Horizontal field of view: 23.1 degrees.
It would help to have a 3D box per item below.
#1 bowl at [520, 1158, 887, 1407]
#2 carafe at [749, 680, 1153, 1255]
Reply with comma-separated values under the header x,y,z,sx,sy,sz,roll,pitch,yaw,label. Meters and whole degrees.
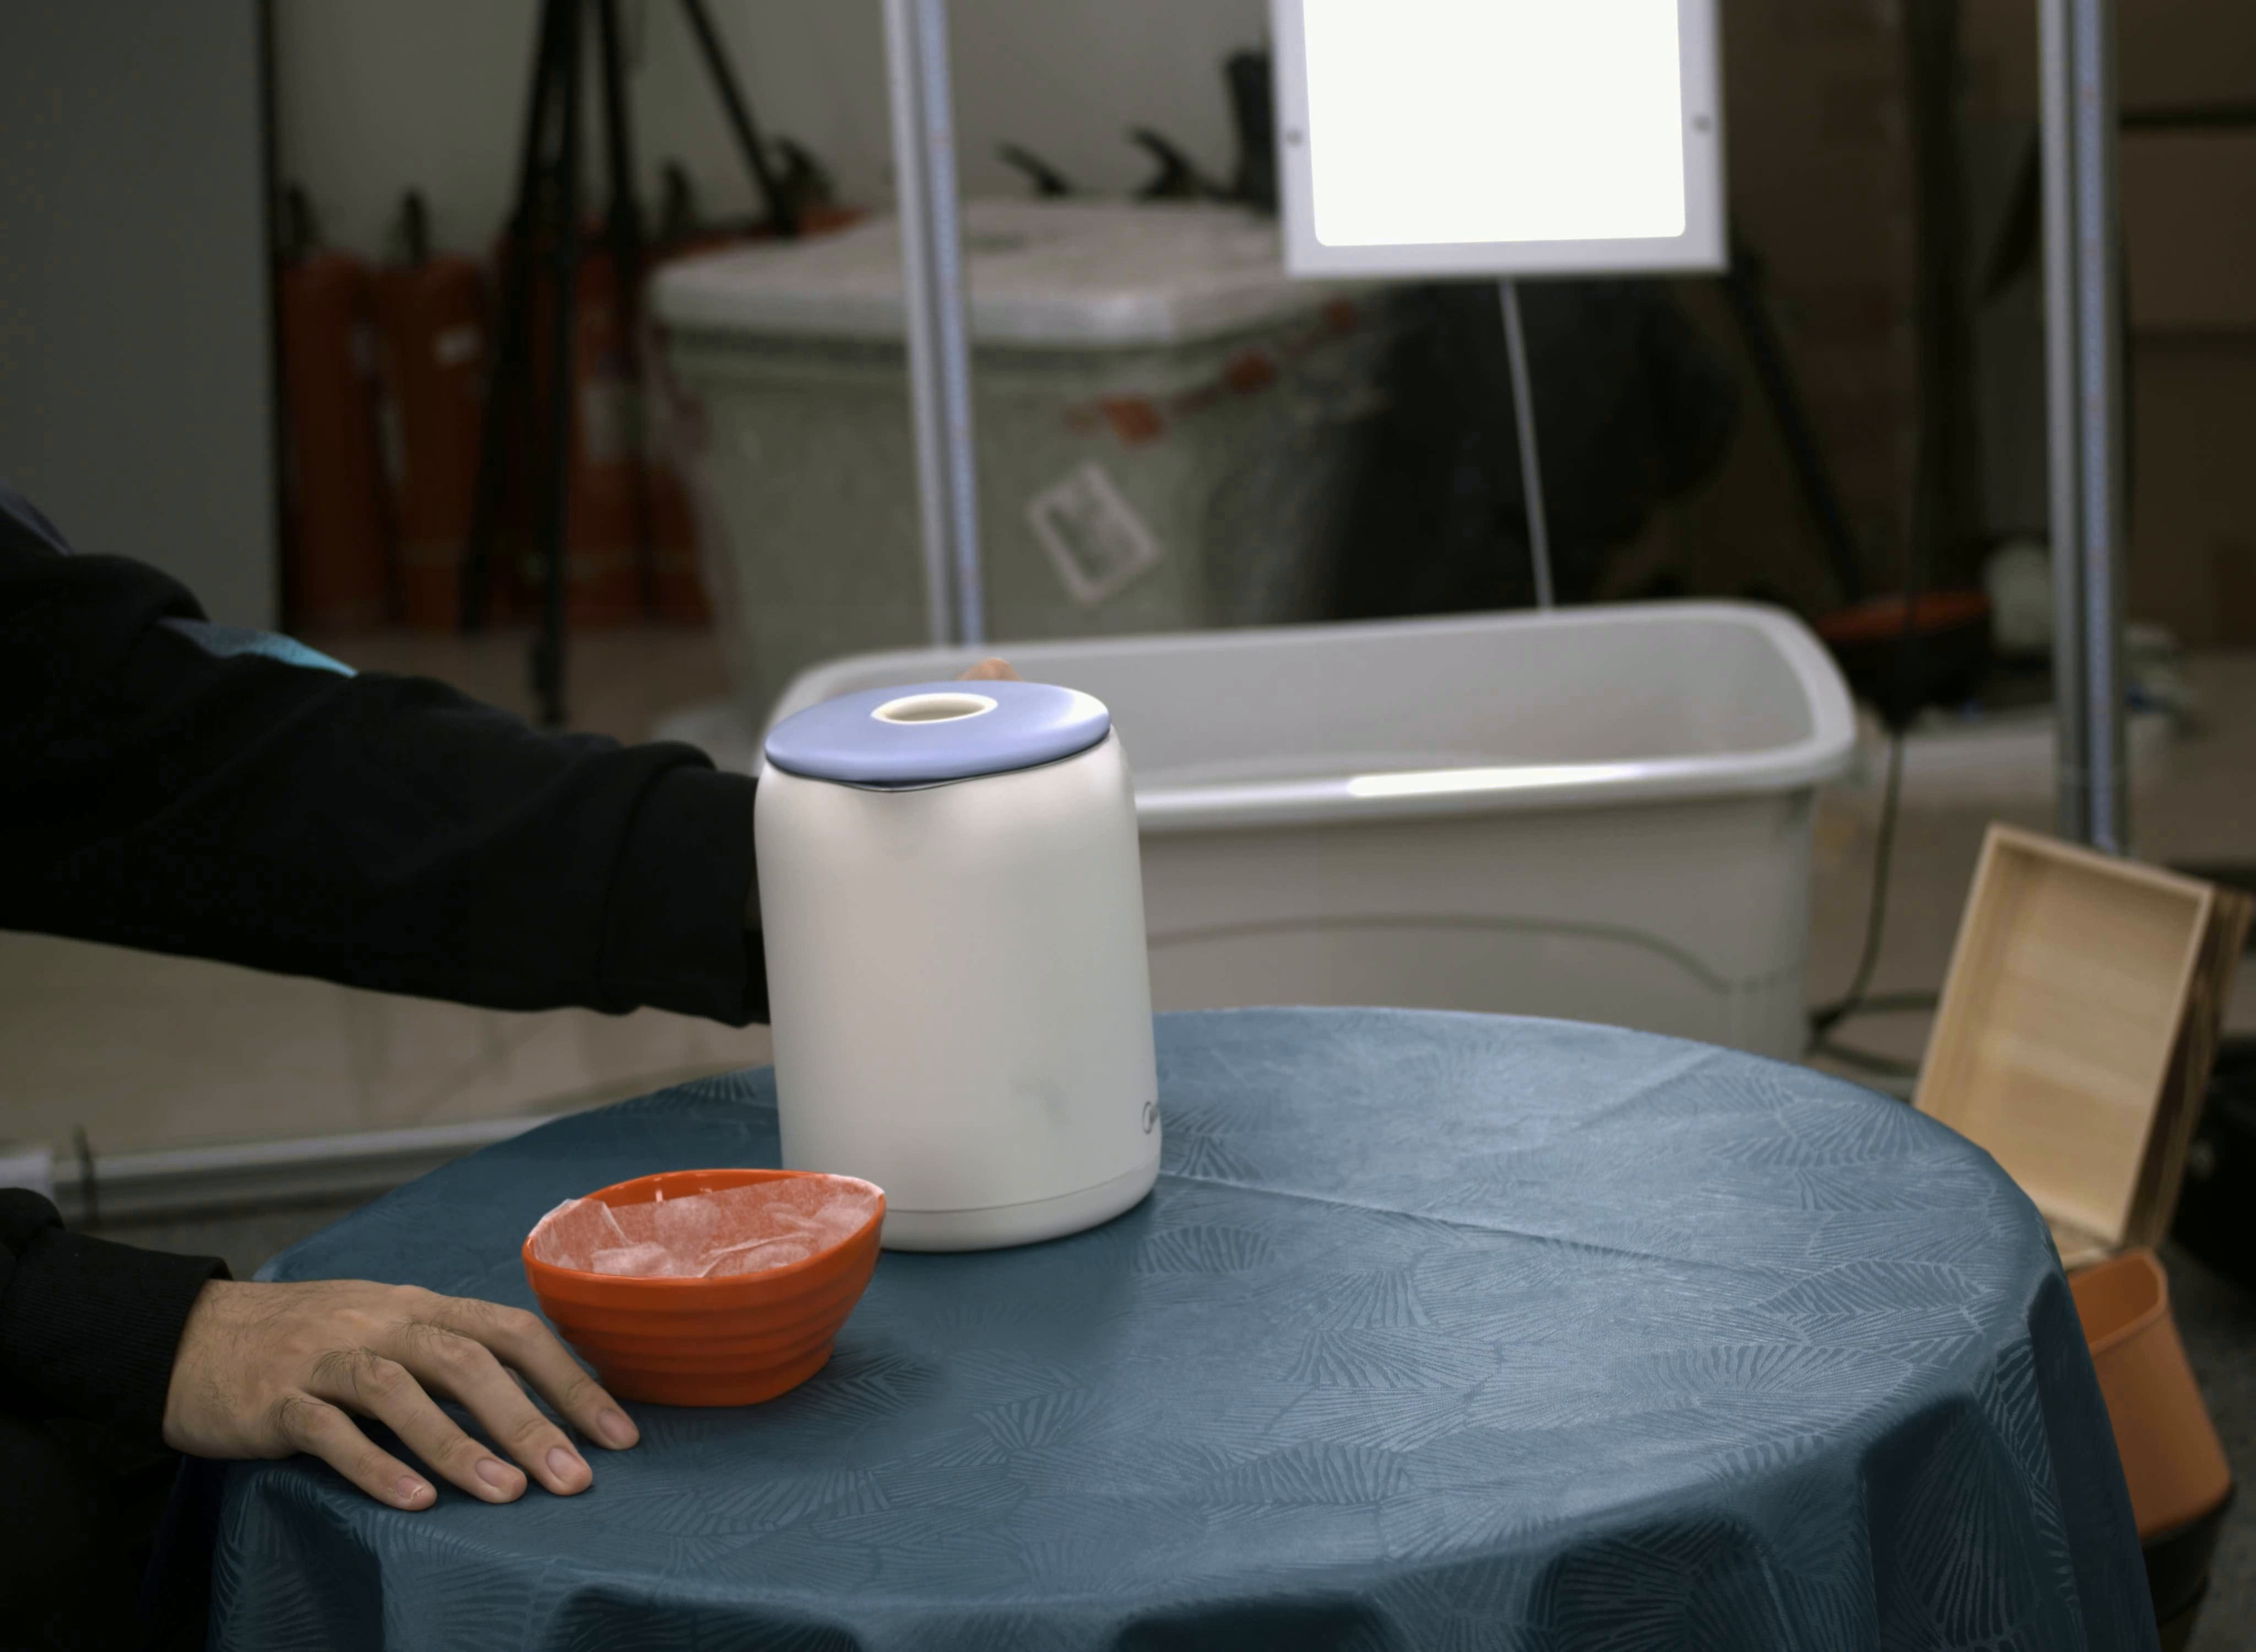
x,y,z,sx,sy,sz,roll,pitch,yaw,label
-0.132,0.147,1.746,0.118,0.051,0.119,-4,17,0,bowl
-0.056,0.042,1.904,0.133,0.183,0.189,-1,12,10,carafe
